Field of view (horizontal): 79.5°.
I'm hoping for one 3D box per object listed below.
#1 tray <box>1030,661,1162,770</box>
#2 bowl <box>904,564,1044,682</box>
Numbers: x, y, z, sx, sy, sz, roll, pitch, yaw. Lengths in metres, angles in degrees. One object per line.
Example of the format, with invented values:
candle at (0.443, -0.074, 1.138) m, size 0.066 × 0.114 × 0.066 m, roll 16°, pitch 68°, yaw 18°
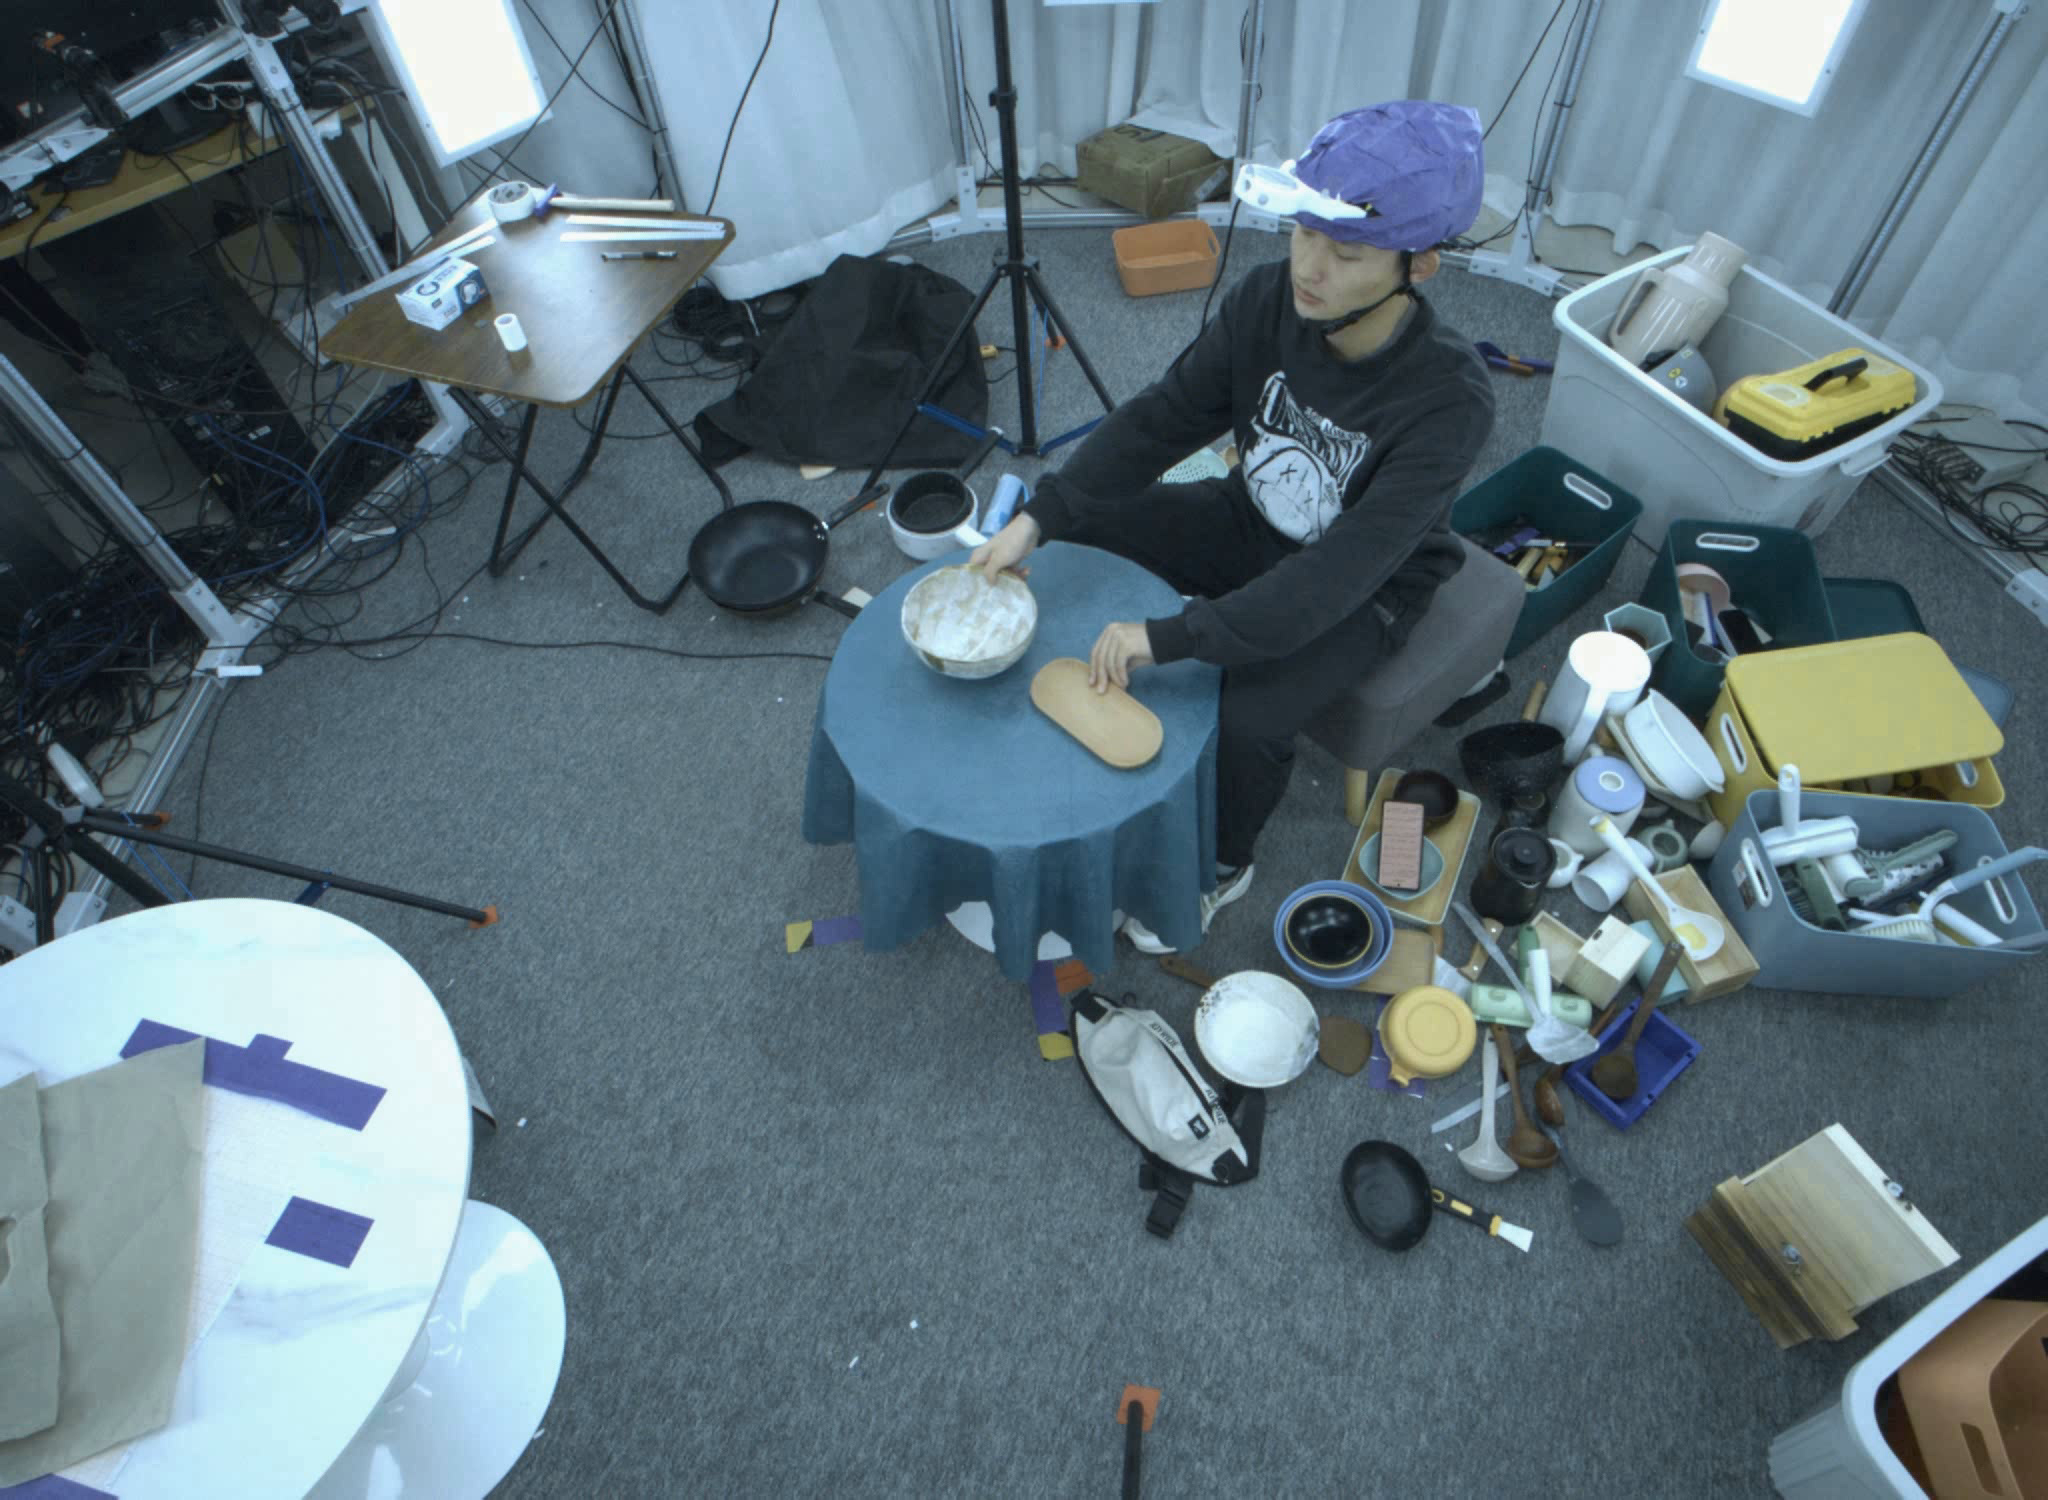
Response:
tray at (0.105, -0.051, 1.812) m, size 0.227 × 0.020 × 0.102 m, roll 38°, pitch 73°, yaw 27°
bowl at (-0.074, -0.173, 1.851) m, size 0.215 × 0.095 × 0.212 m, roll 1°, pitch 54°, yaw 0°
